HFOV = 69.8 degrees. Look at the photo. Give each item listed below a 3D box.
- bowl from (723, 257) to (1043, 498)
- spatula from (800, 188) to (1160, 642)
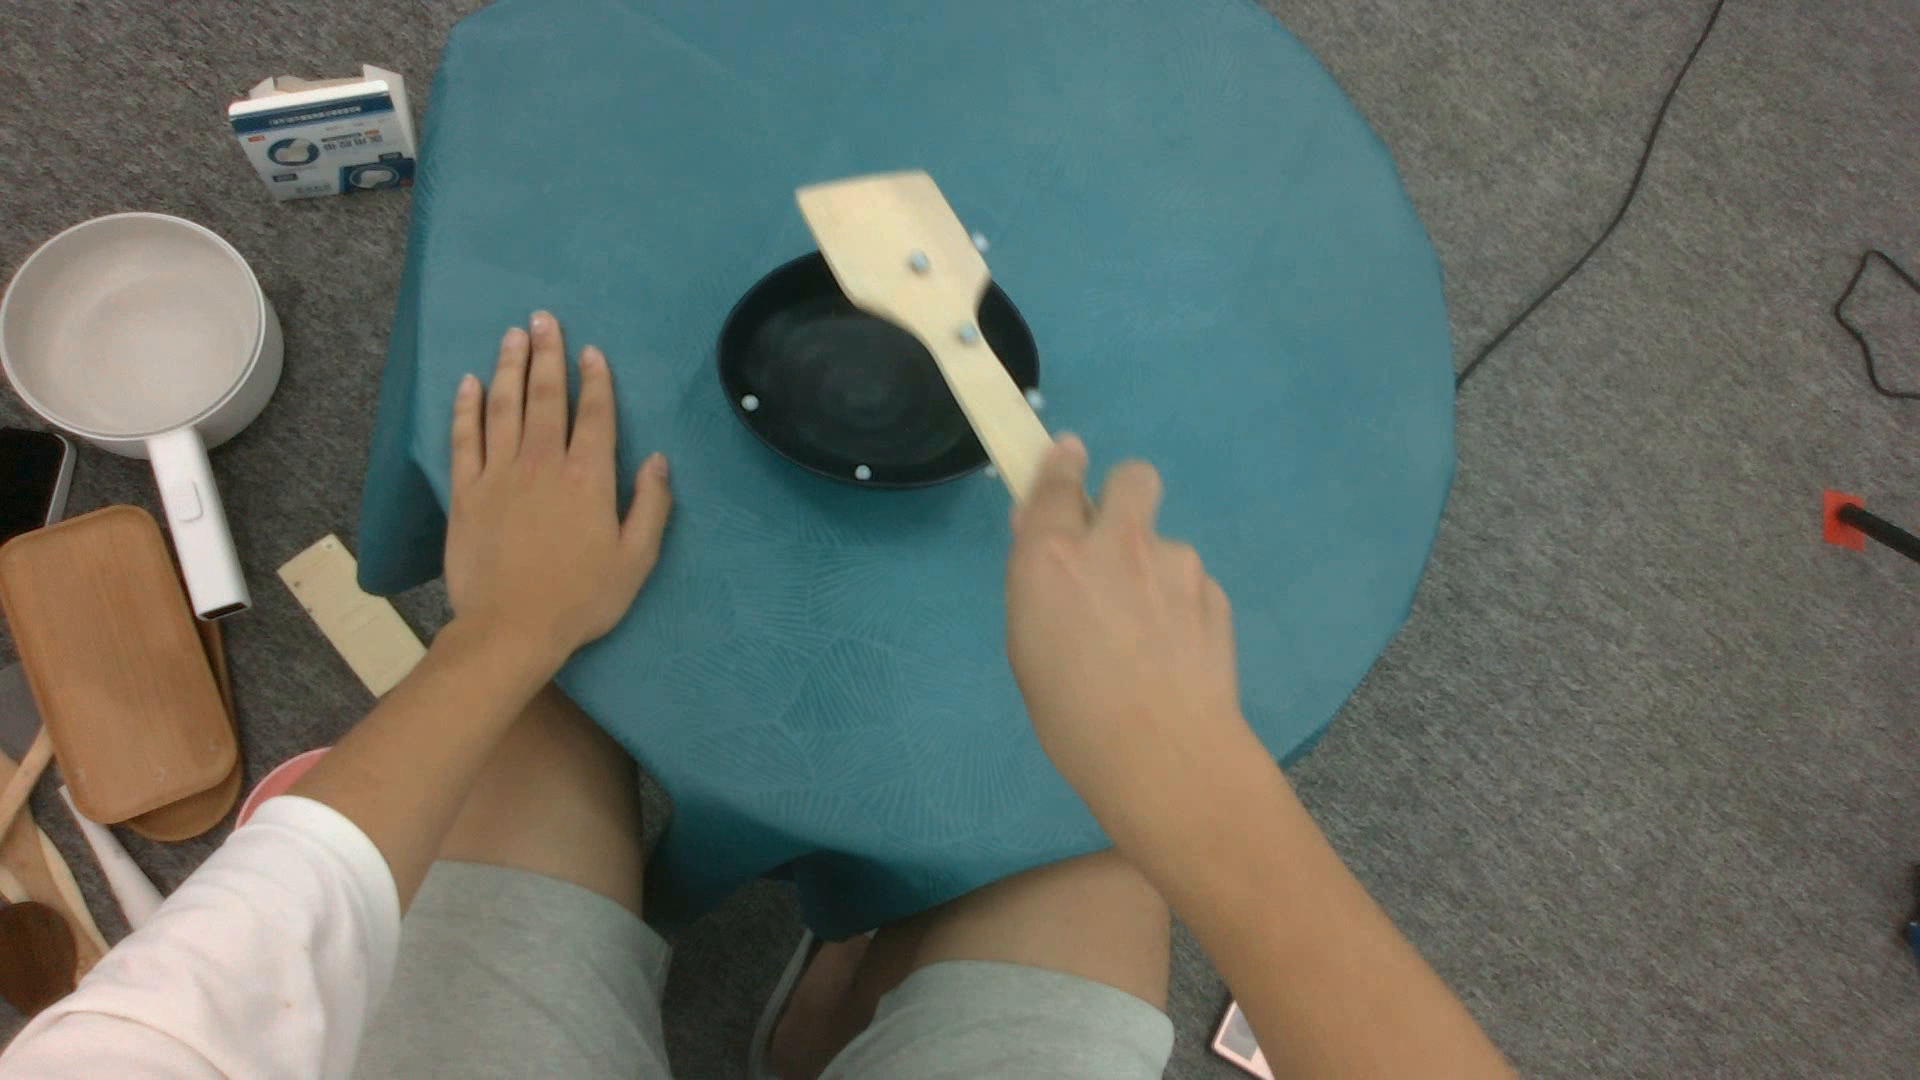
[{"bbox_3d":[-0.043,-0.084,0.751,0.170,0.066,0.137,1,77,-9],"label":"bowl"},{"bbox_3d":[0.010,-0.067,0.603,0.072,0.010,0.294,-15,51,-19],"label":"spatula"}]
